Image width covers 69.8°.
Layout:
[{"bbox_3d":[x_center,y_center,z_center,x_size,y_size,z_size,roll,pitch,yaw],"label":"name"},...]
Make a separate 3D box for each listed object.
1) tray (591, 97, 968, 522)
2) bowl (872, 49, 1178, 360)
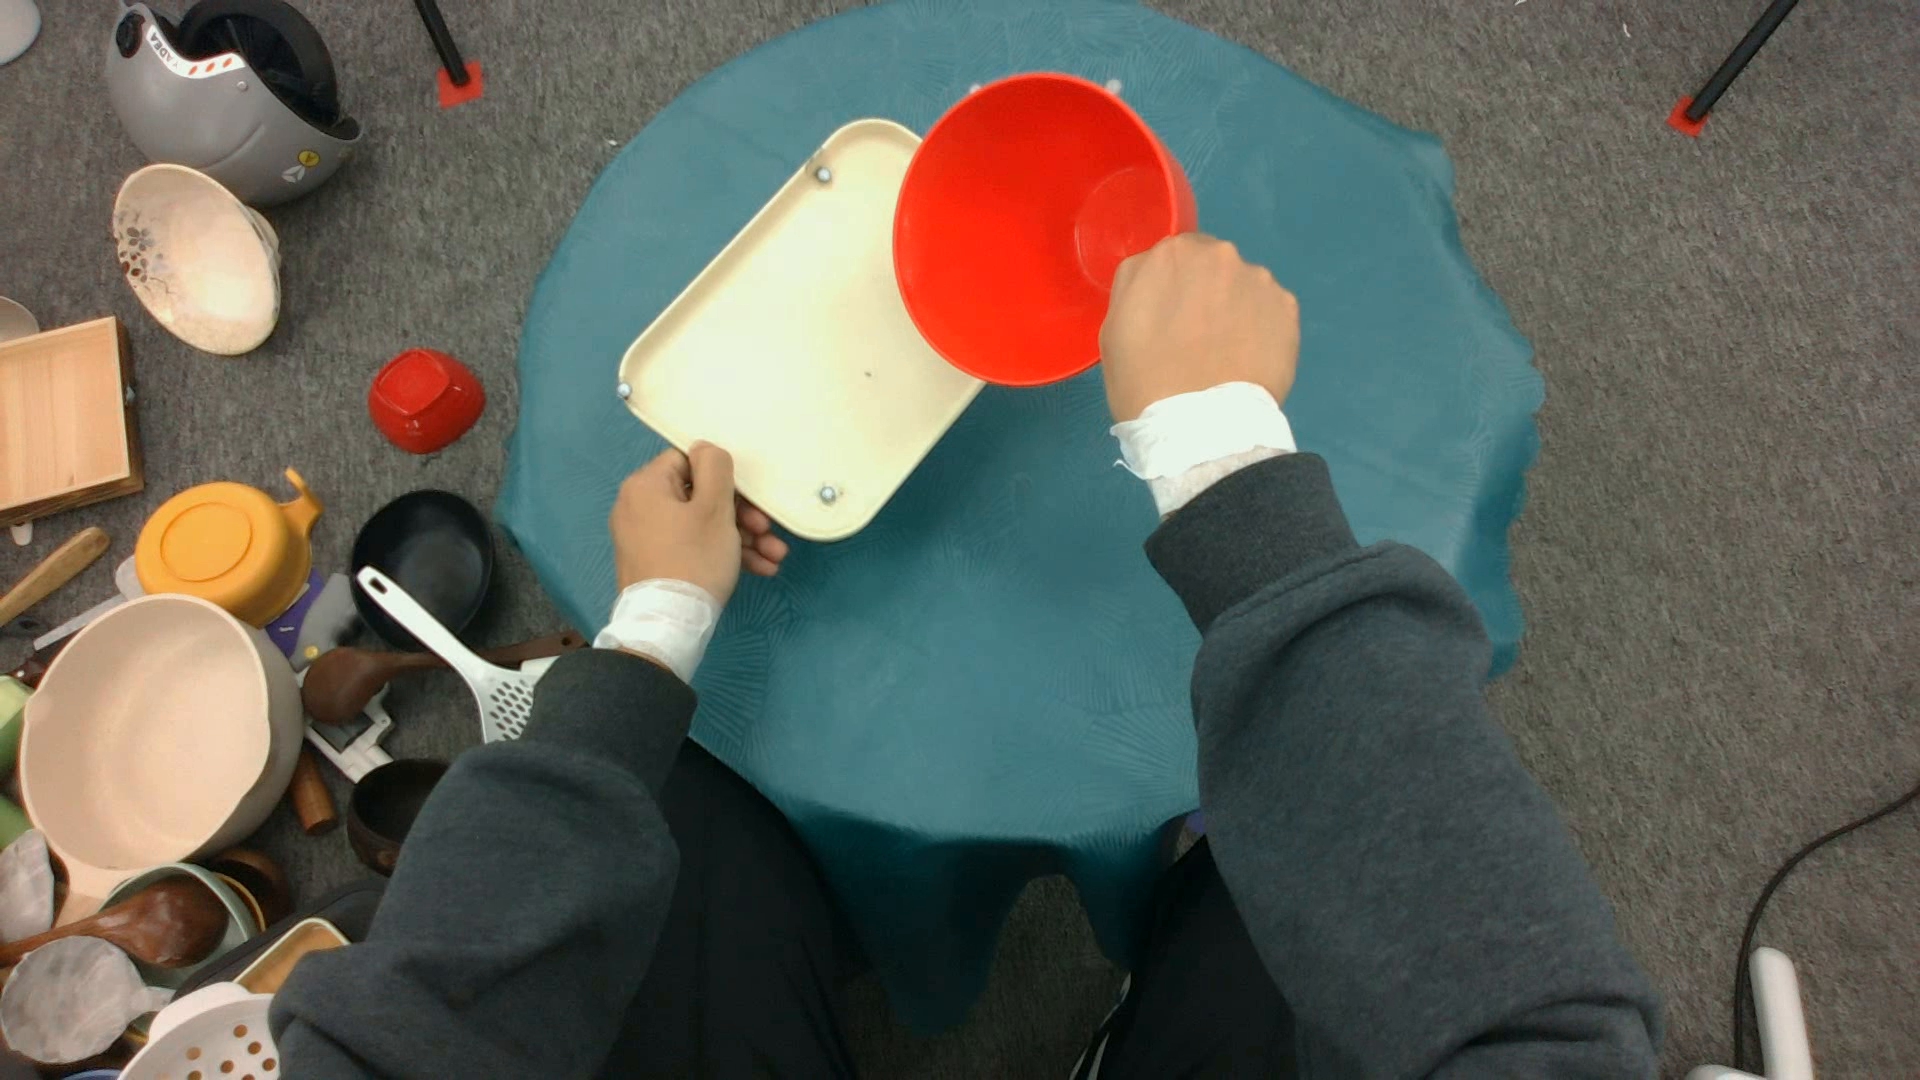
[{"bbox_3d":[-0.078,-0.135,0.783,0.171,0.017,0.240,36,73,8],"label":"tray"},{"bbox_3d":[0.045,-0.165,0.695,0.147,0.105,0.148,5,99,35],"label":"bowl"}]
